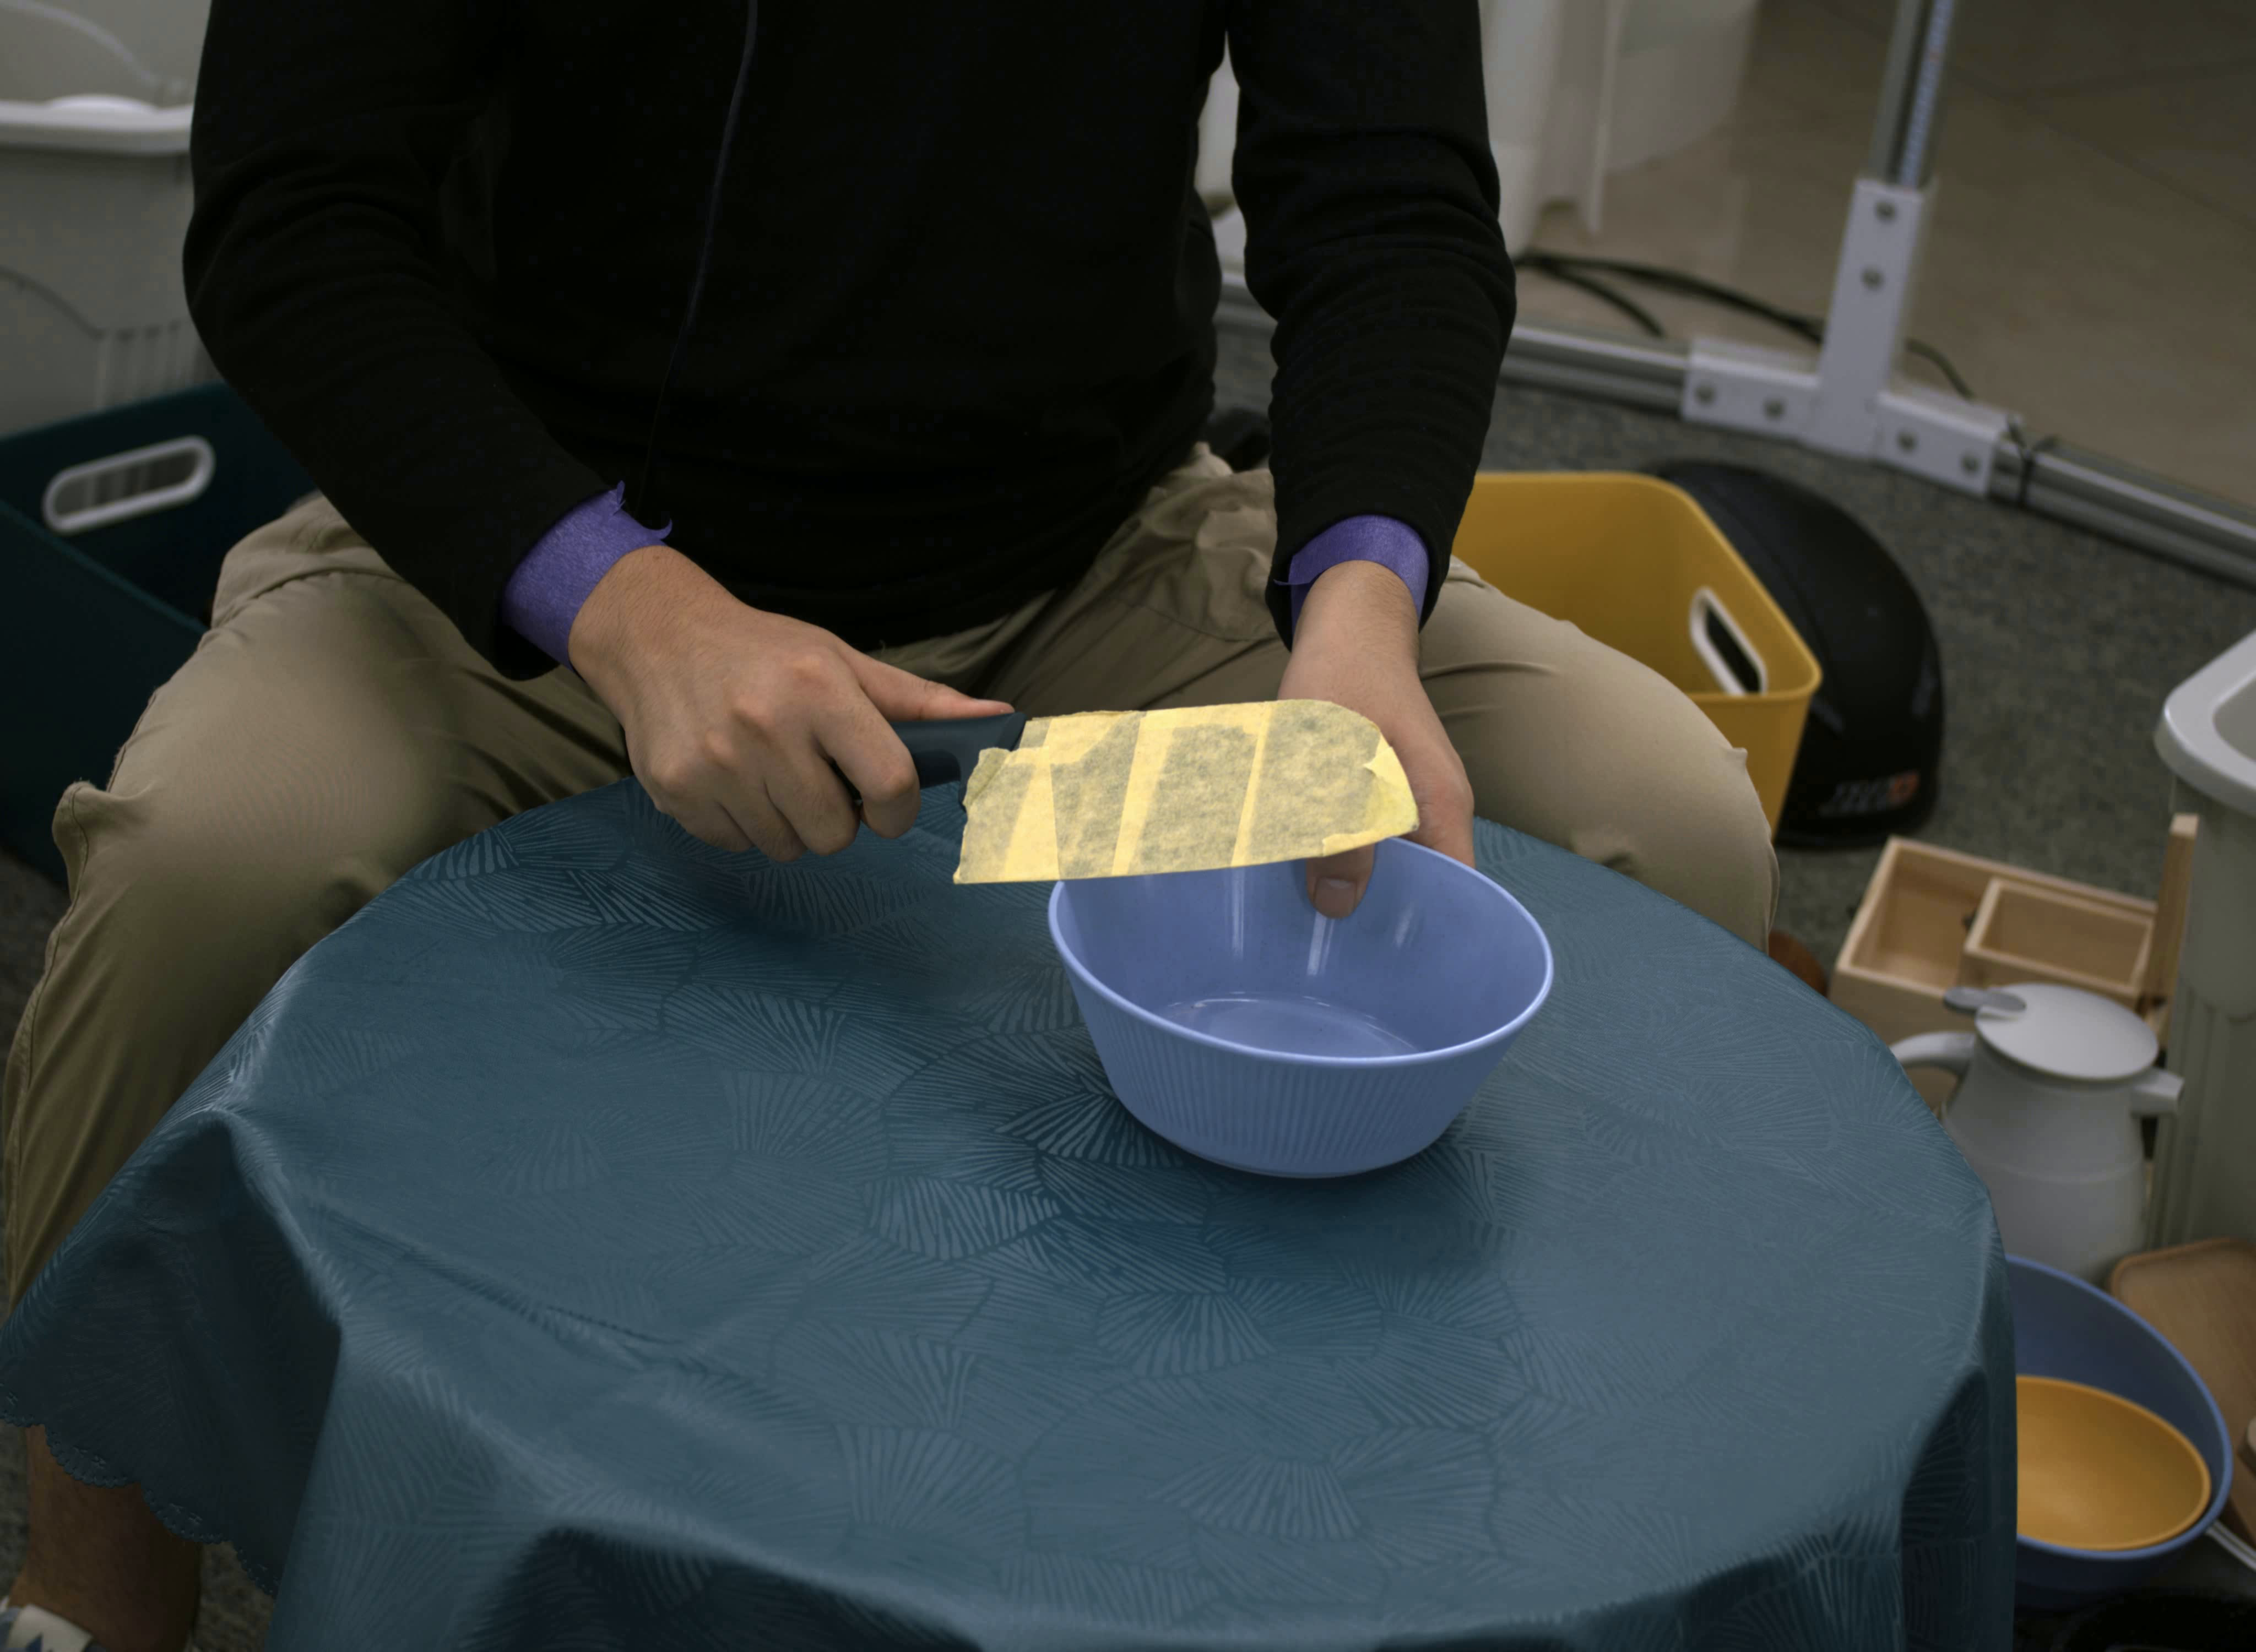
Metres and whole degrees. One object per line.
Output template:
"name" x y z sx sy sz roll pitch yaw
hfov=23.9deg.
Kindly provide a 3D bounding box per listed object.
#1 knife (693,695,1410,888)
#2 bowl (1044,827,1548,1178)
"knife" -0.031 -0.010 1.889 0.290 0.027 0.081 -3 49 27
"bowl" 0.055 0.066 1.855 0.175 0.070 0.177 5 27 -3
